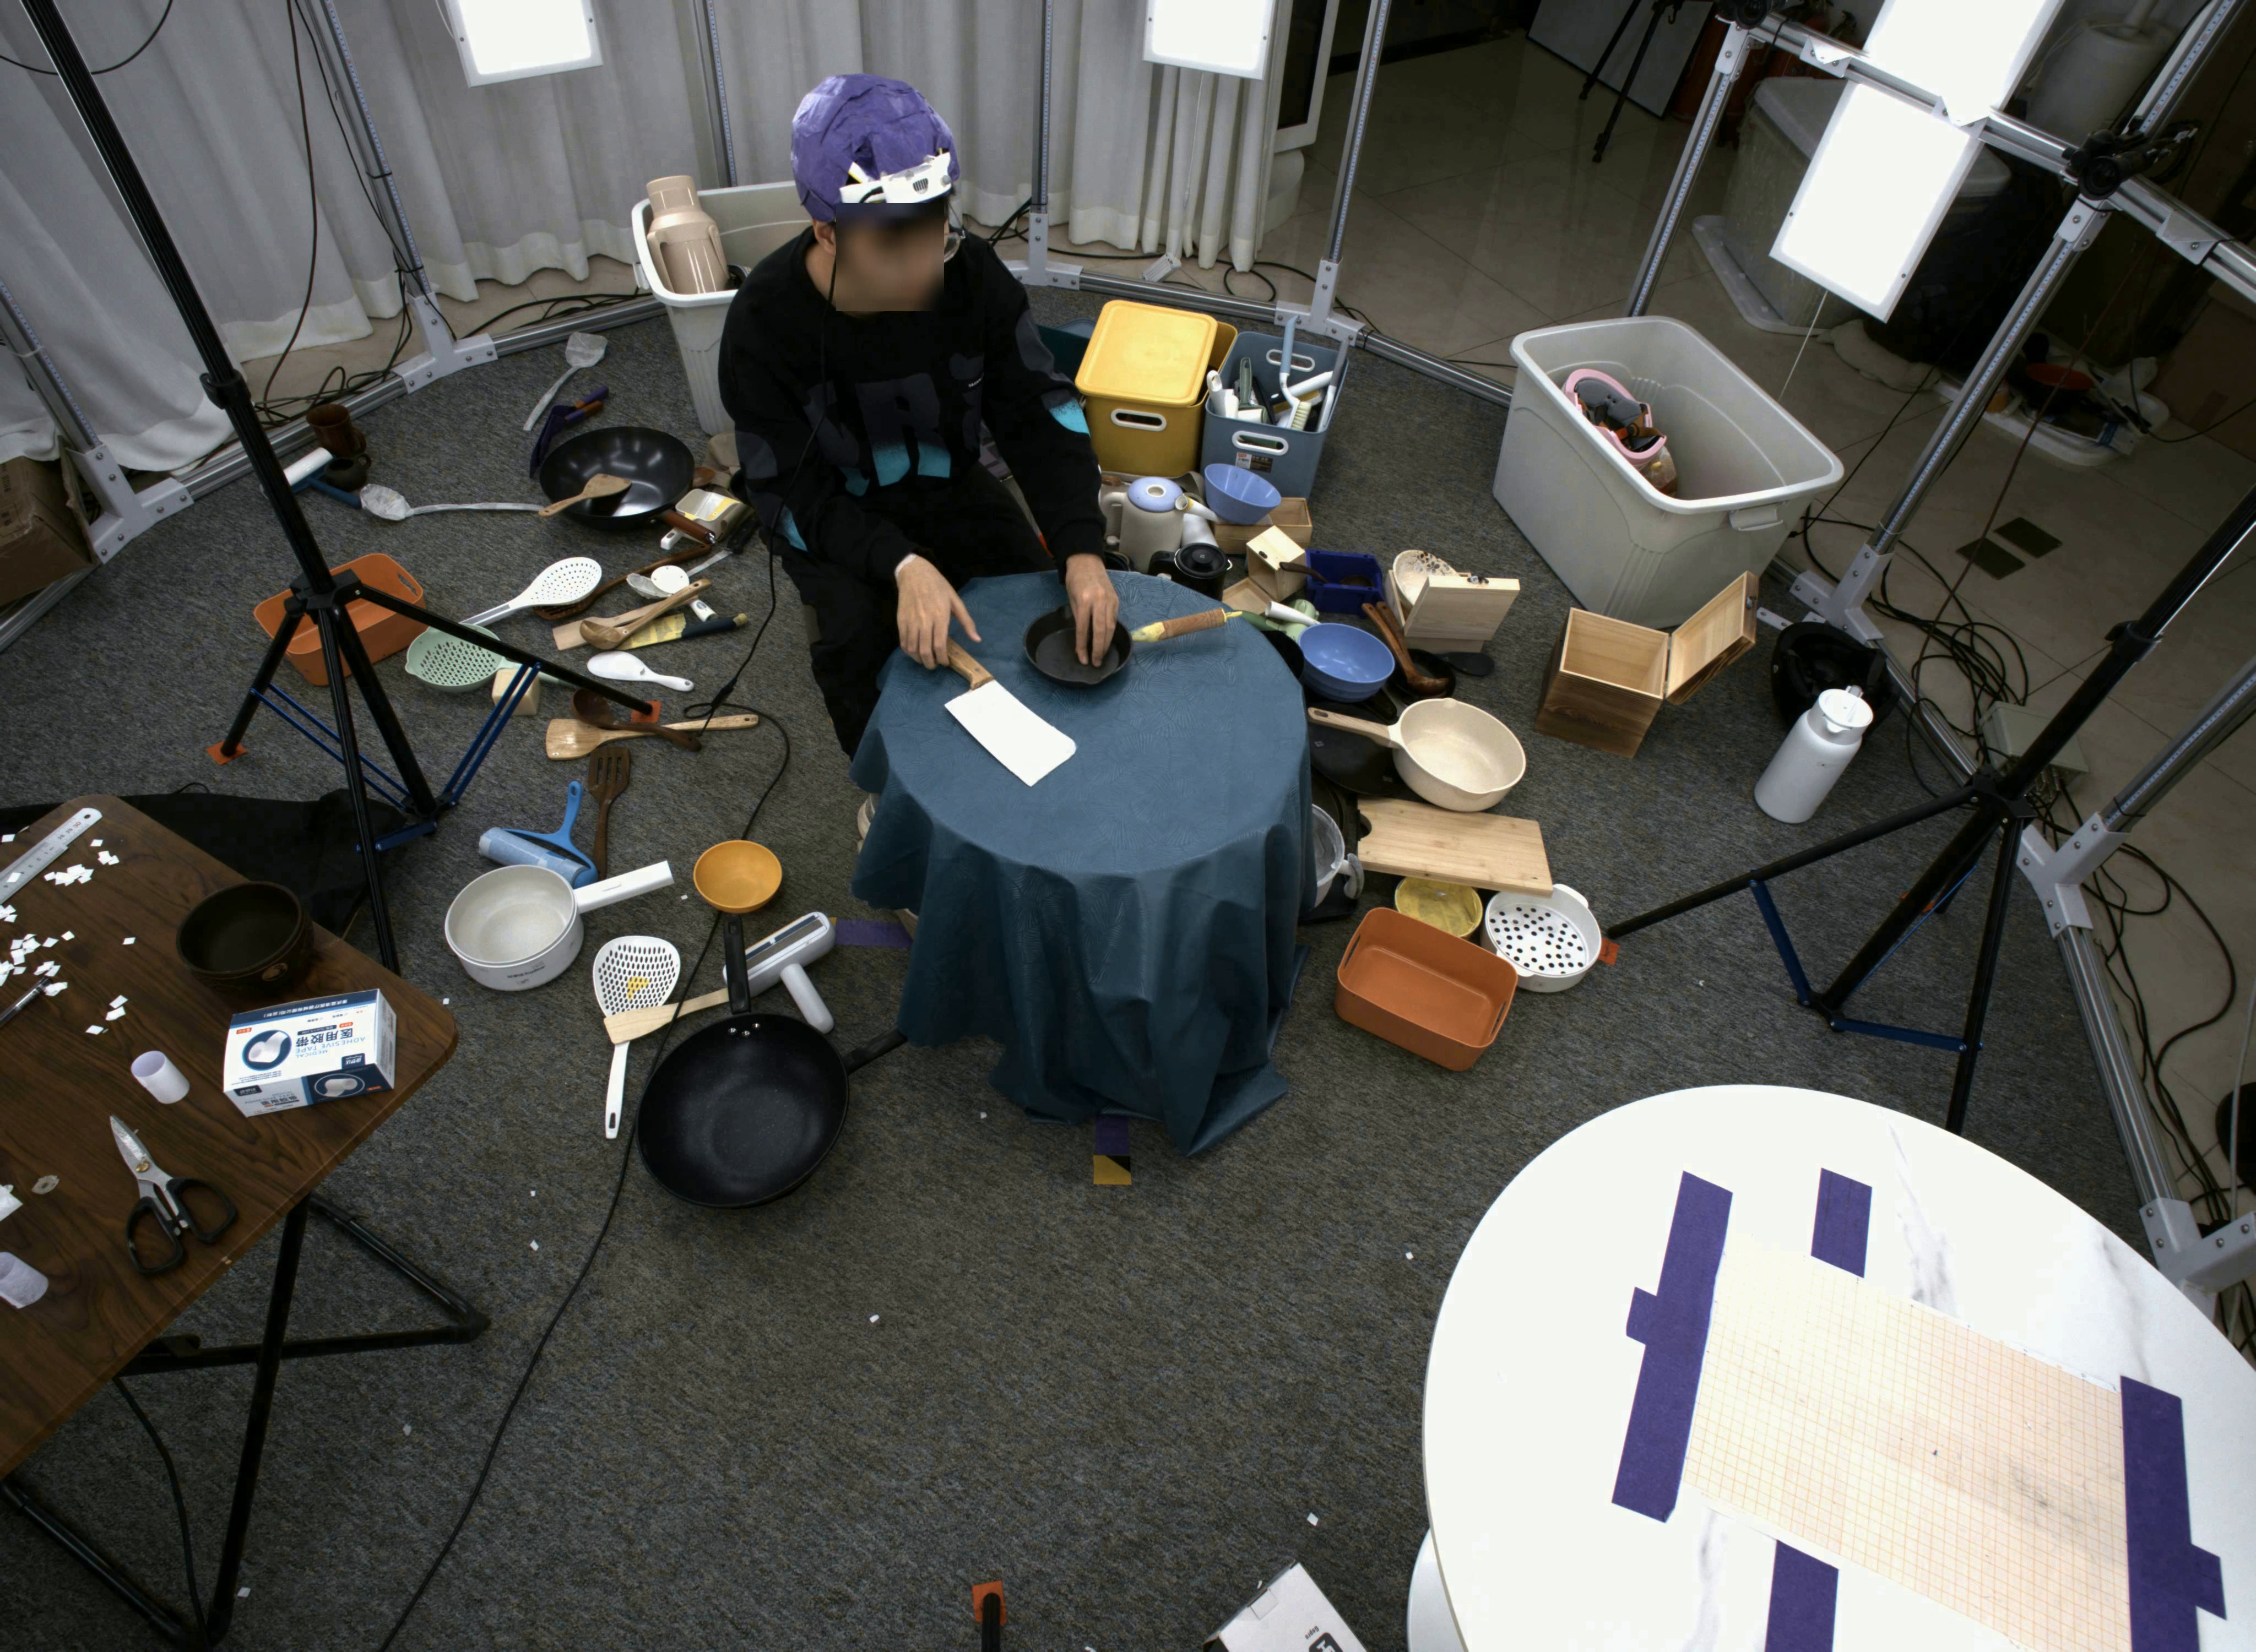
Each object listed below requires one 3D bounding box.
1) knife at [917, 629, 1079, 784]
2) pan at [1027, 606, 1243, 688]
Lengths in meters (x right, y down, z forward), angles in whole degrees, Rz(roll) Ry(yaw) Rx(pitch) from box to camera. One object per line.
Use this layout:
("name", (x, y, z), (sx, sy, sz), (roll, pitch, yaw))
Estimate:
("knife", (-0.192, -0.175, 1.796), (0.114, 0.021, 0.321), (-30, 60, -26))
("pan", (0.014, -0.274, 1.876), (0.324, 0.048, 0.173), (-11, 50, -12))
